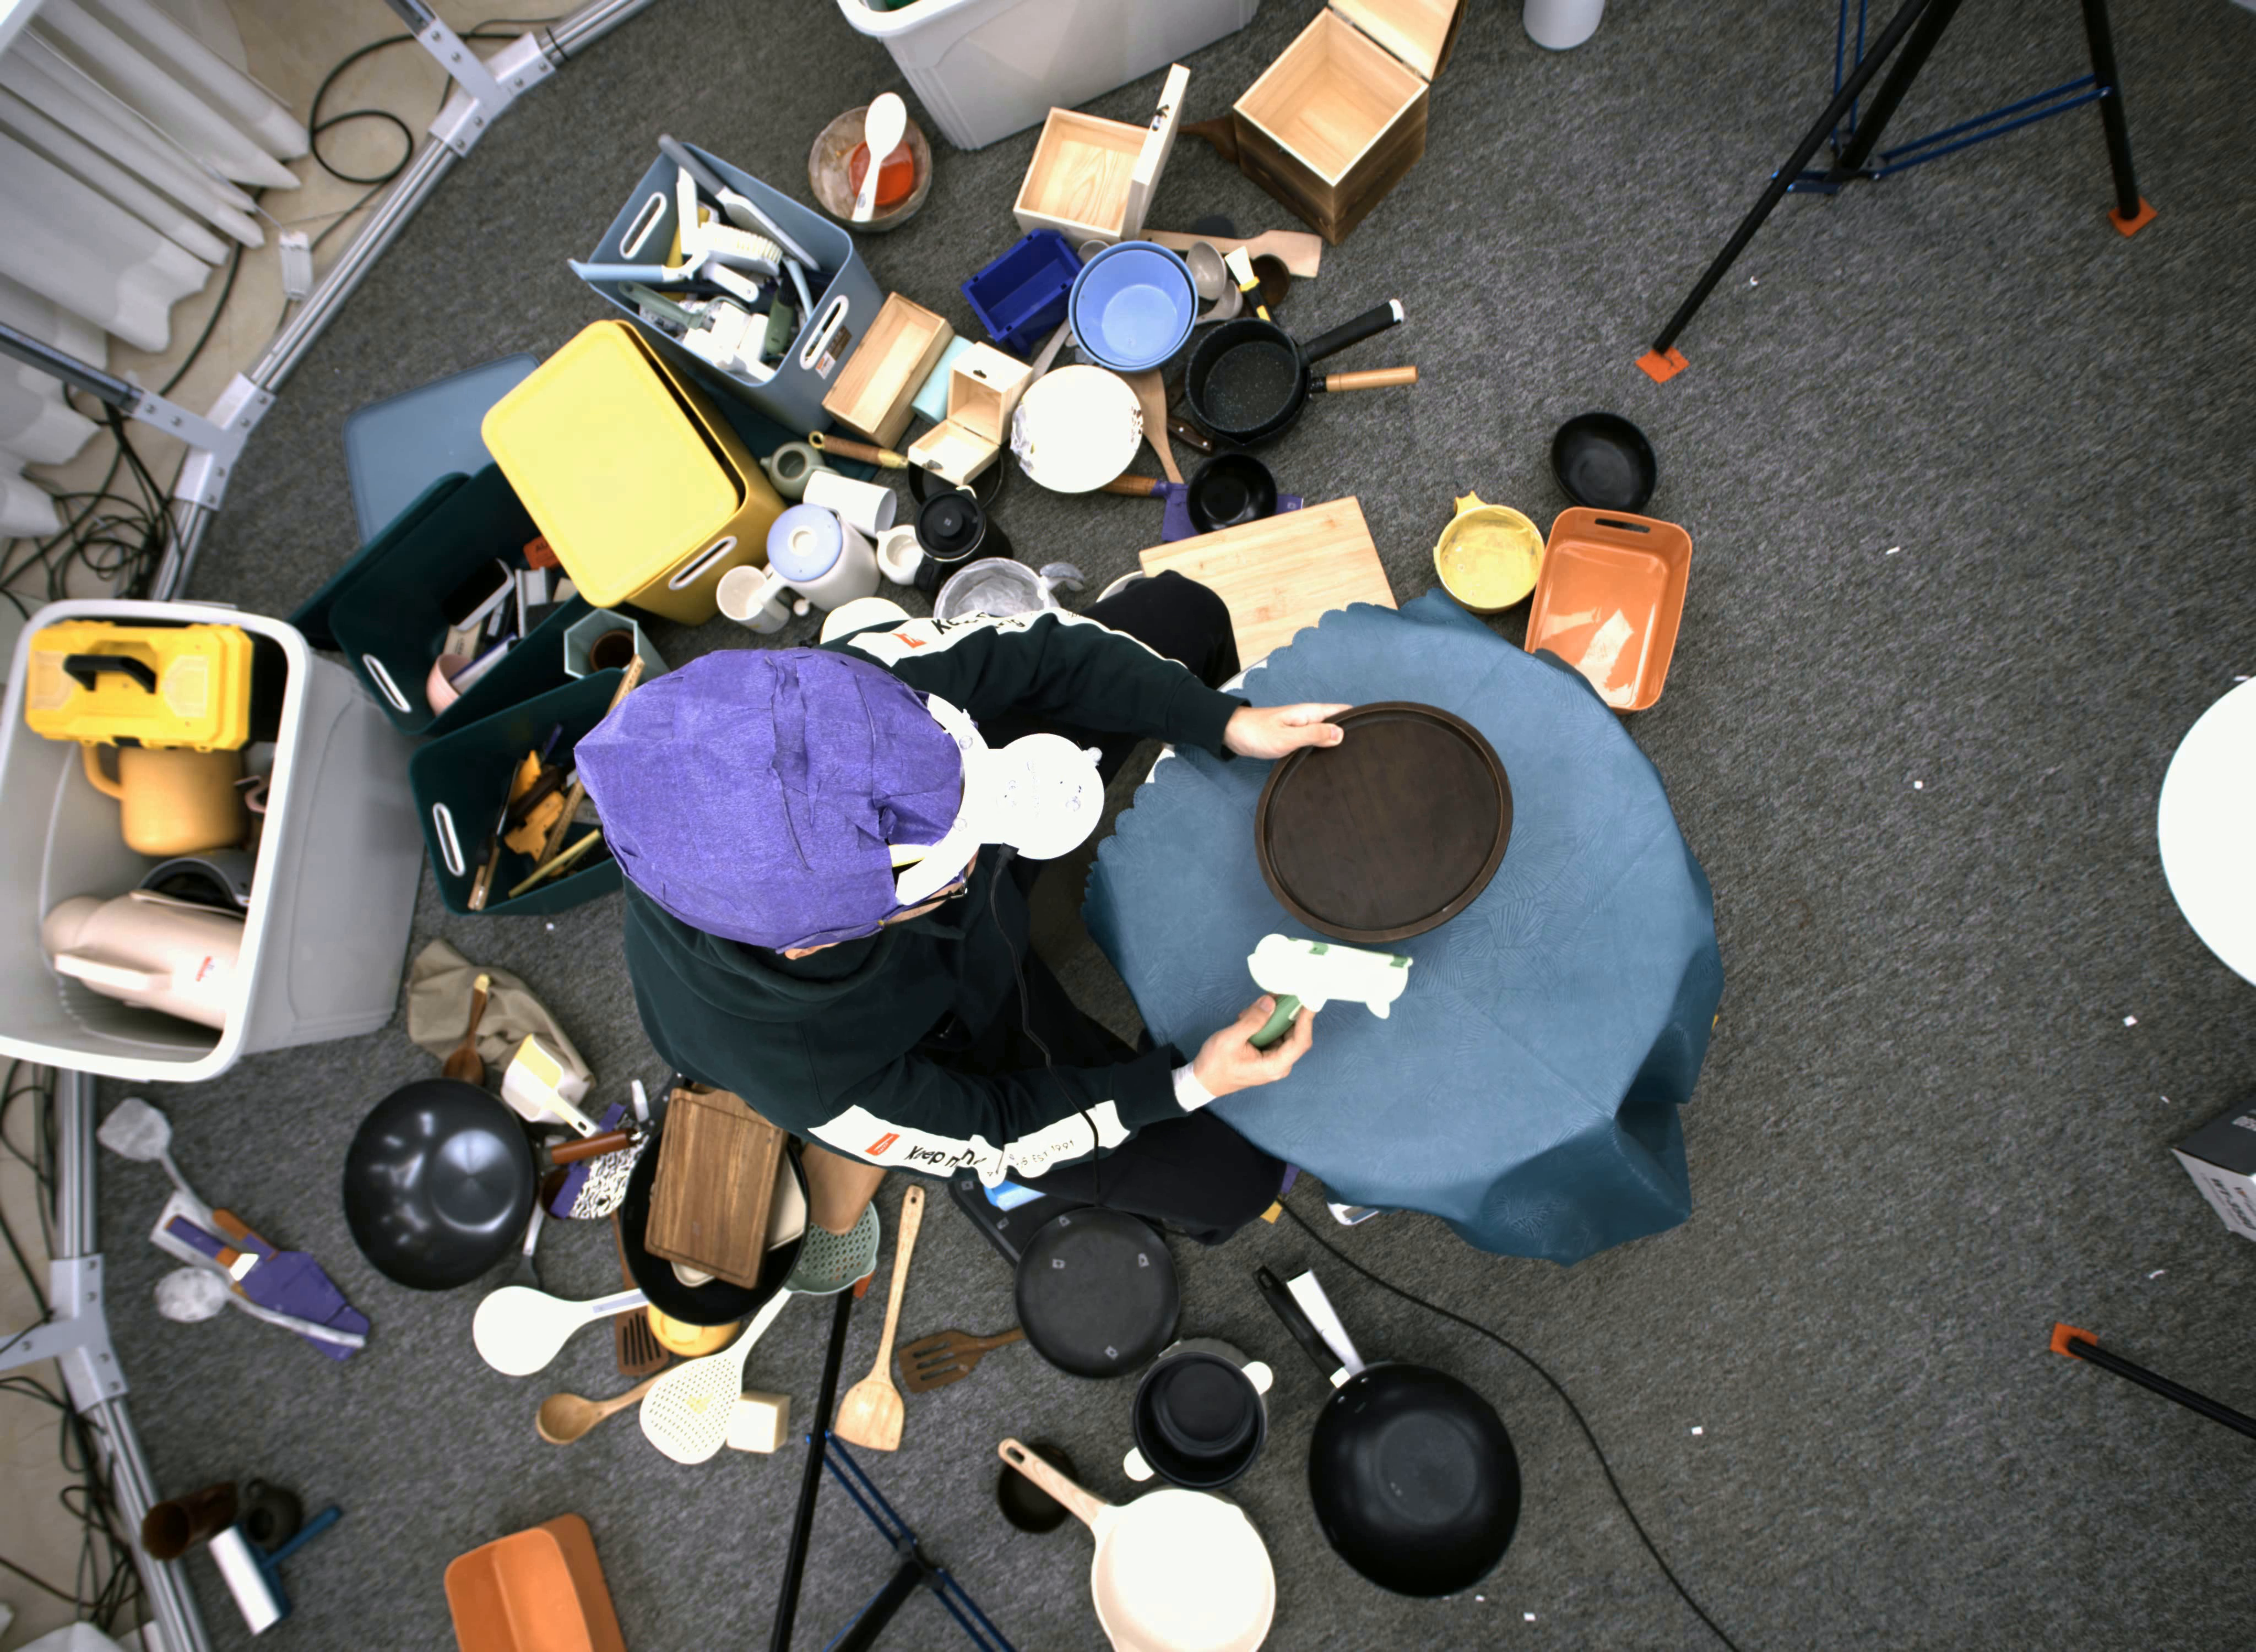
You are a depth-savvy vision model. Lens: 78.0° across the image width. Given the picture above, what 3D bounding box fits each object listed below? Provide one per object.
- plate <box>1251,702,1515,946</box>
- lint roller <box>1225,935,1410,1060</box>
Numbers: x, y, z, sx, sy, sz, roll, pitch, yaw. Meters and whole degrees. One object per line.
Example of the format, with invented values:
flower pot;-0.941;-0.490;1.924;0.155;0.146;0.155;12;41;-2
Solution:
plate;0.244;-0.005;1.325;0.257;0.029;0.250;-9;68;21
lint roller;0.168;0.183;1.342;0.186;0.198;0.081;-53;53;23
